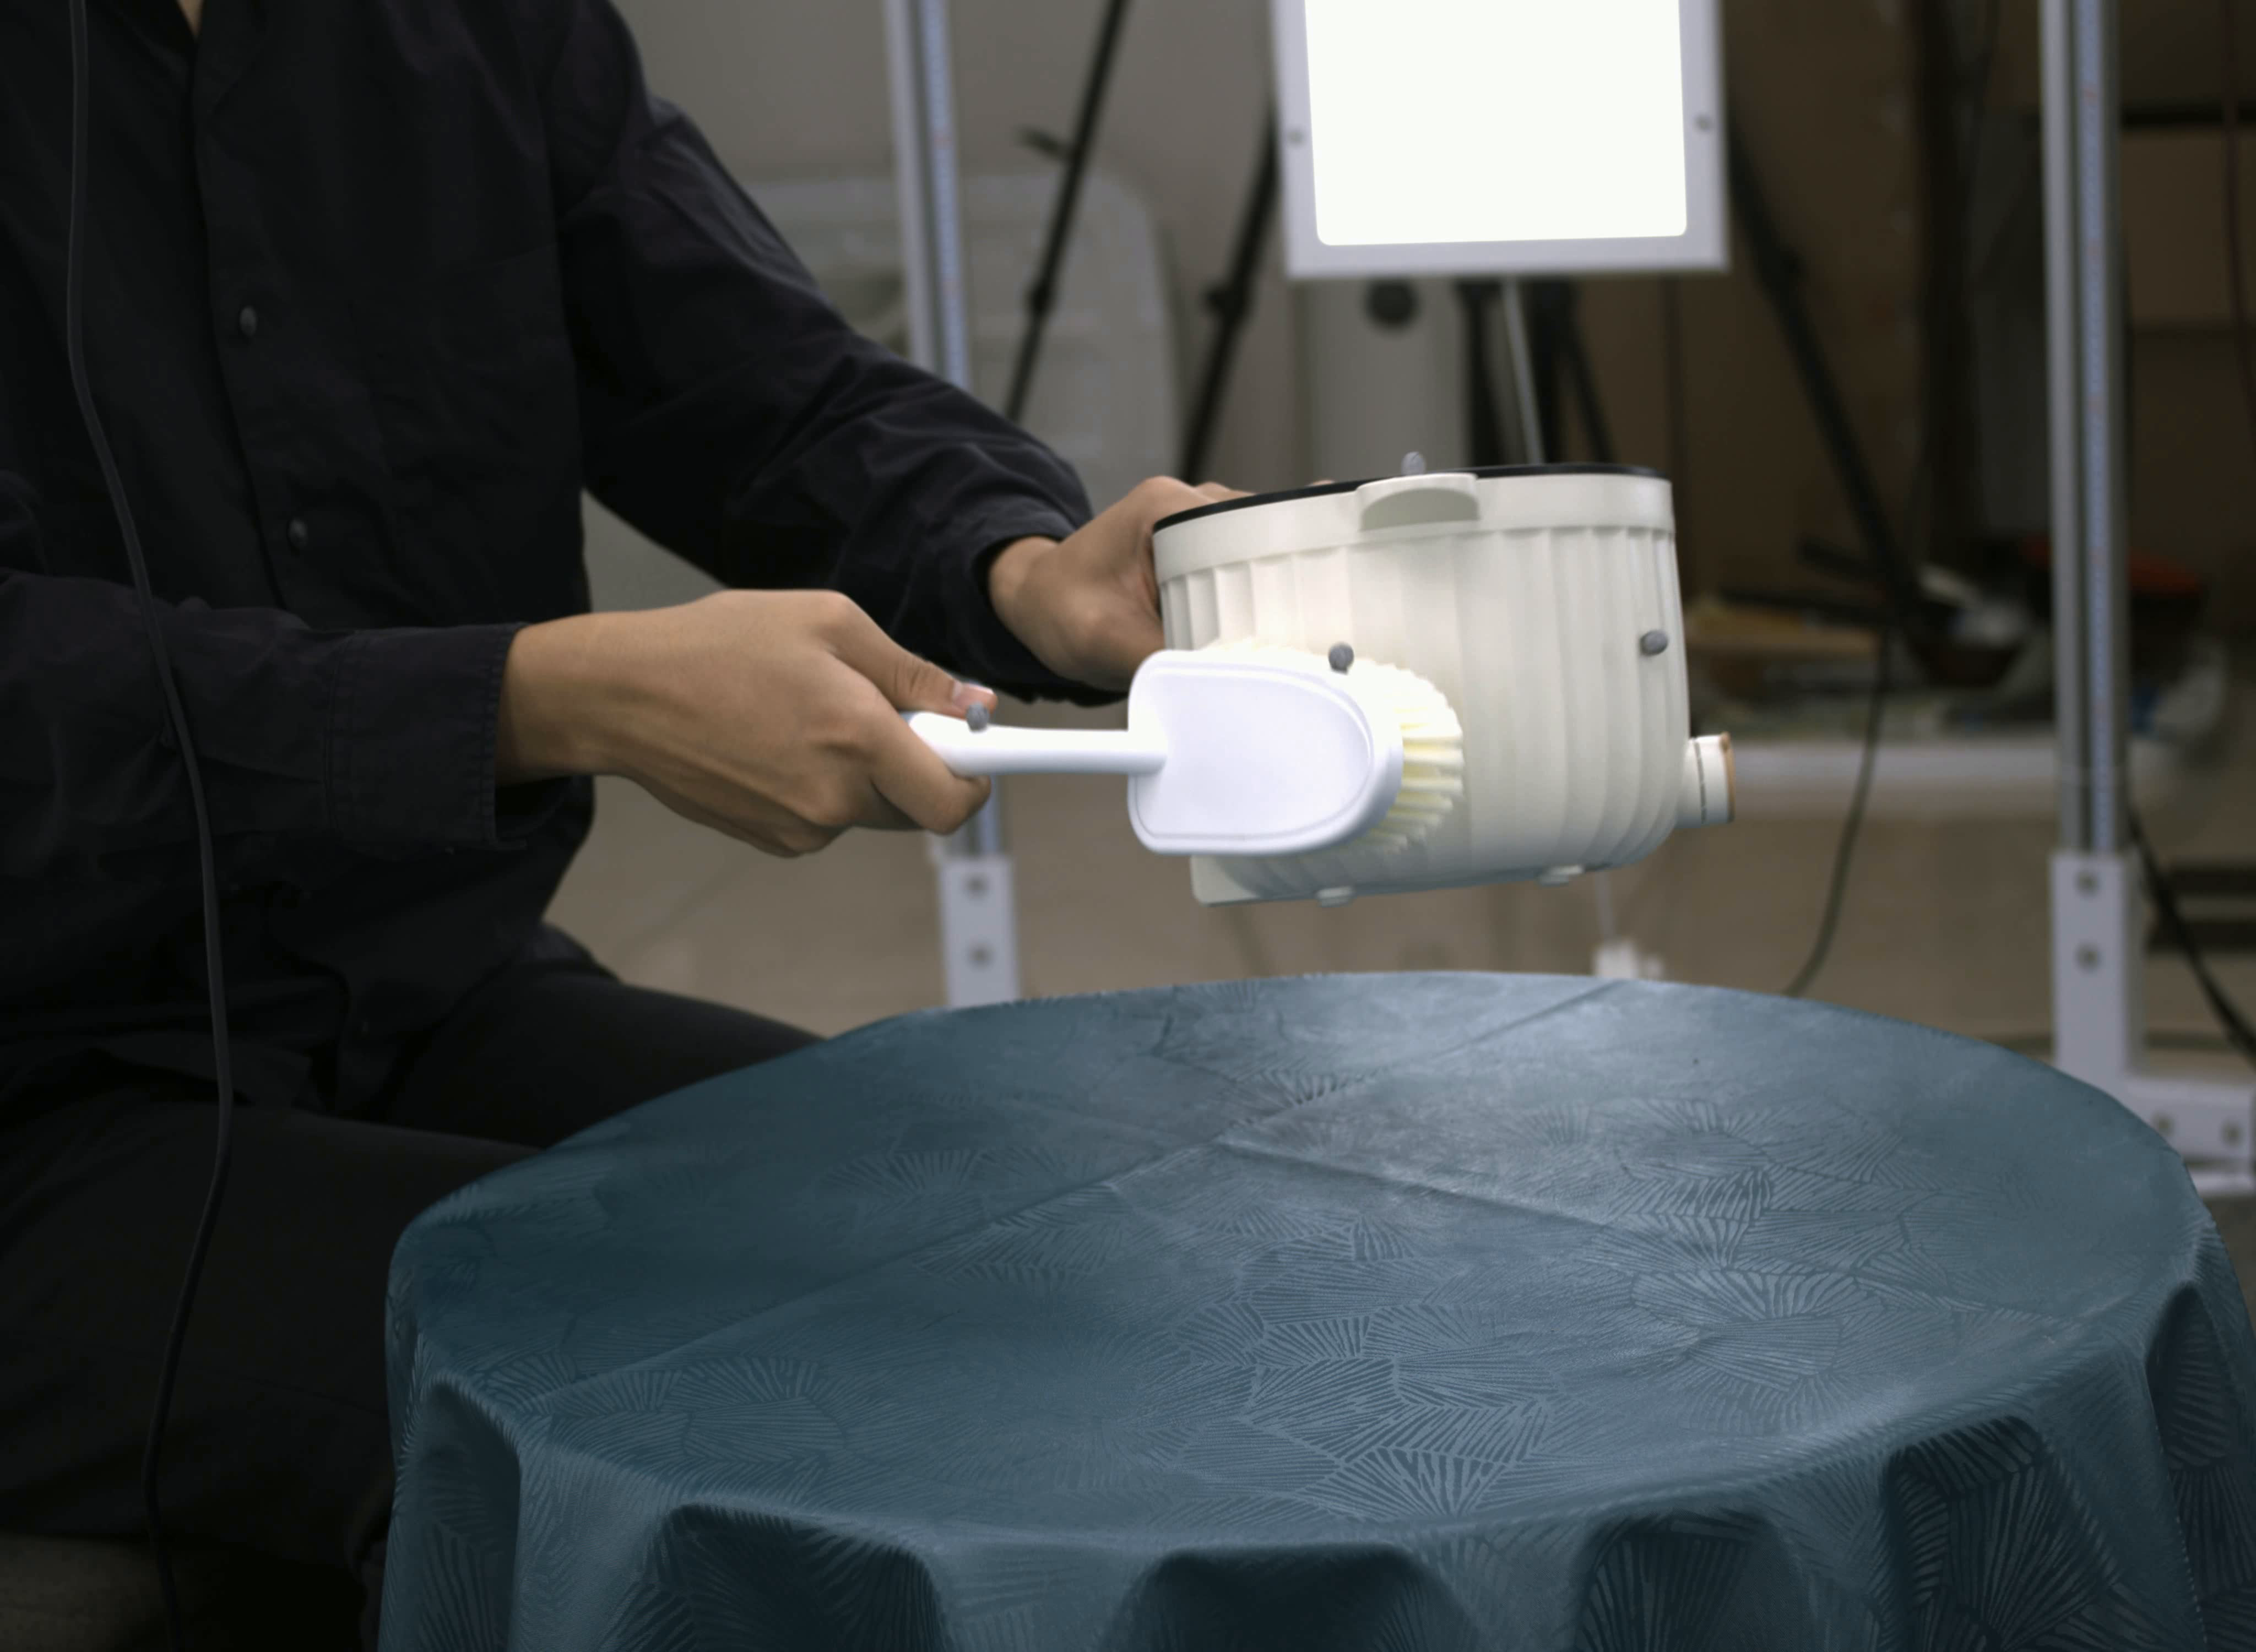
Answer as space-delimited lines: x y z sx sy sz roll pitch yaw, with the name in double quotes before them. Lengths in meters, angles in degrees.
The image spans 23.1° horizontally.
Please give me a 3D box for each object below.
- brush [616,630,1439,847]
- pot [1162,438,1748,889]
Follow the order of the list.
"brush" -0.031 -0.034 1.856 0.332 0.083 0.082 2 57 36
"pot" 0.114 -0.054 1.911 0.190 0.143 0.240 -9 -2 1
